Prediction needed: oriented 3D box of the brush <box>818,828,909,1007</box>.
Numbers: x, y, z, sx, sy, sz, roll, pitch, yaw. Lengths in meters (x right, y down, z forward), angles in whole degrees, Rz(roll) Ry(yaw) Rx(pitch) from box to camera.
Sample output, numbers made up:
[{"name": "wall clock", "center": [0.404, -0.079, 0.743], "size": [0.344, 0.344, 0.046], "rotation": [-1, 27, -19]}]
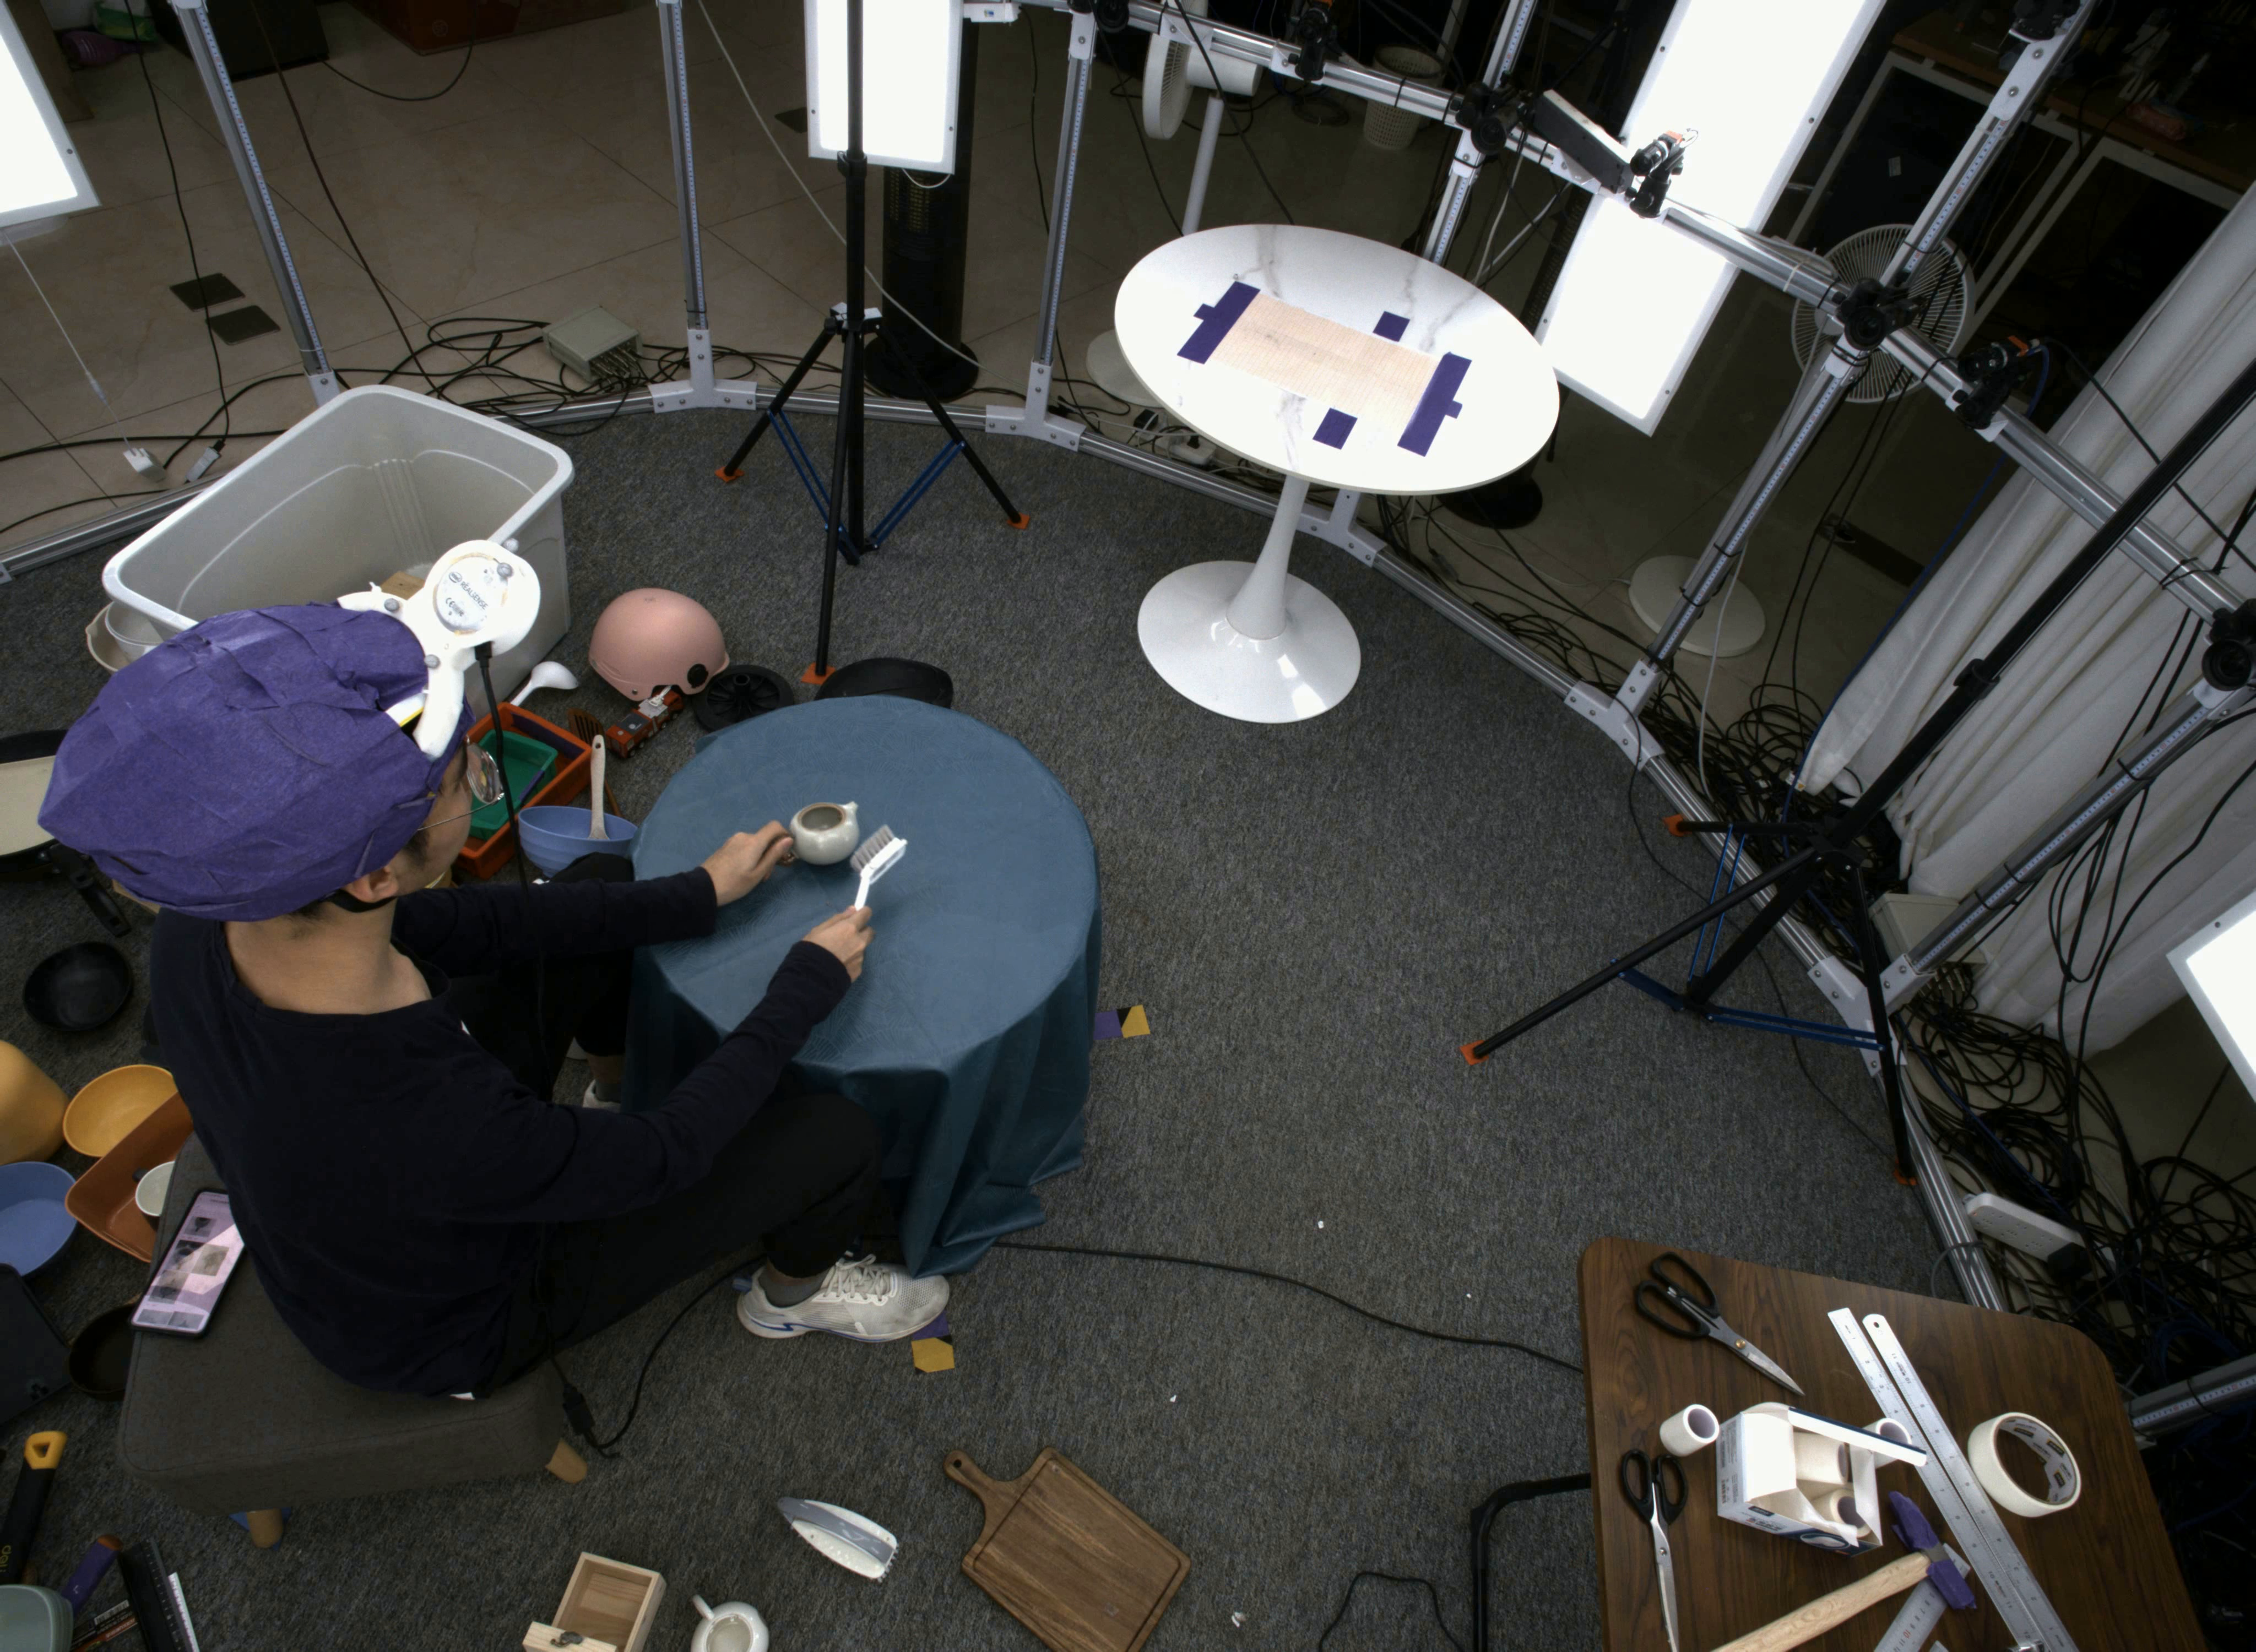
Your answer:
[{"name": "brush", "center": [-0.339, 0.106, 1.595], "size": [0.049, 0.035, 0.242], "rotation": [22, 62, 4]}]

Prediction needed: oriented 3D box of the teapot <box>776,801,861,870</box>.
[{"name": "teapot", "center": [-0.400, 0.015, 1.677], "size": [0.089, 0.061, 0.128], "rotation": [36, 49, 29]}]
